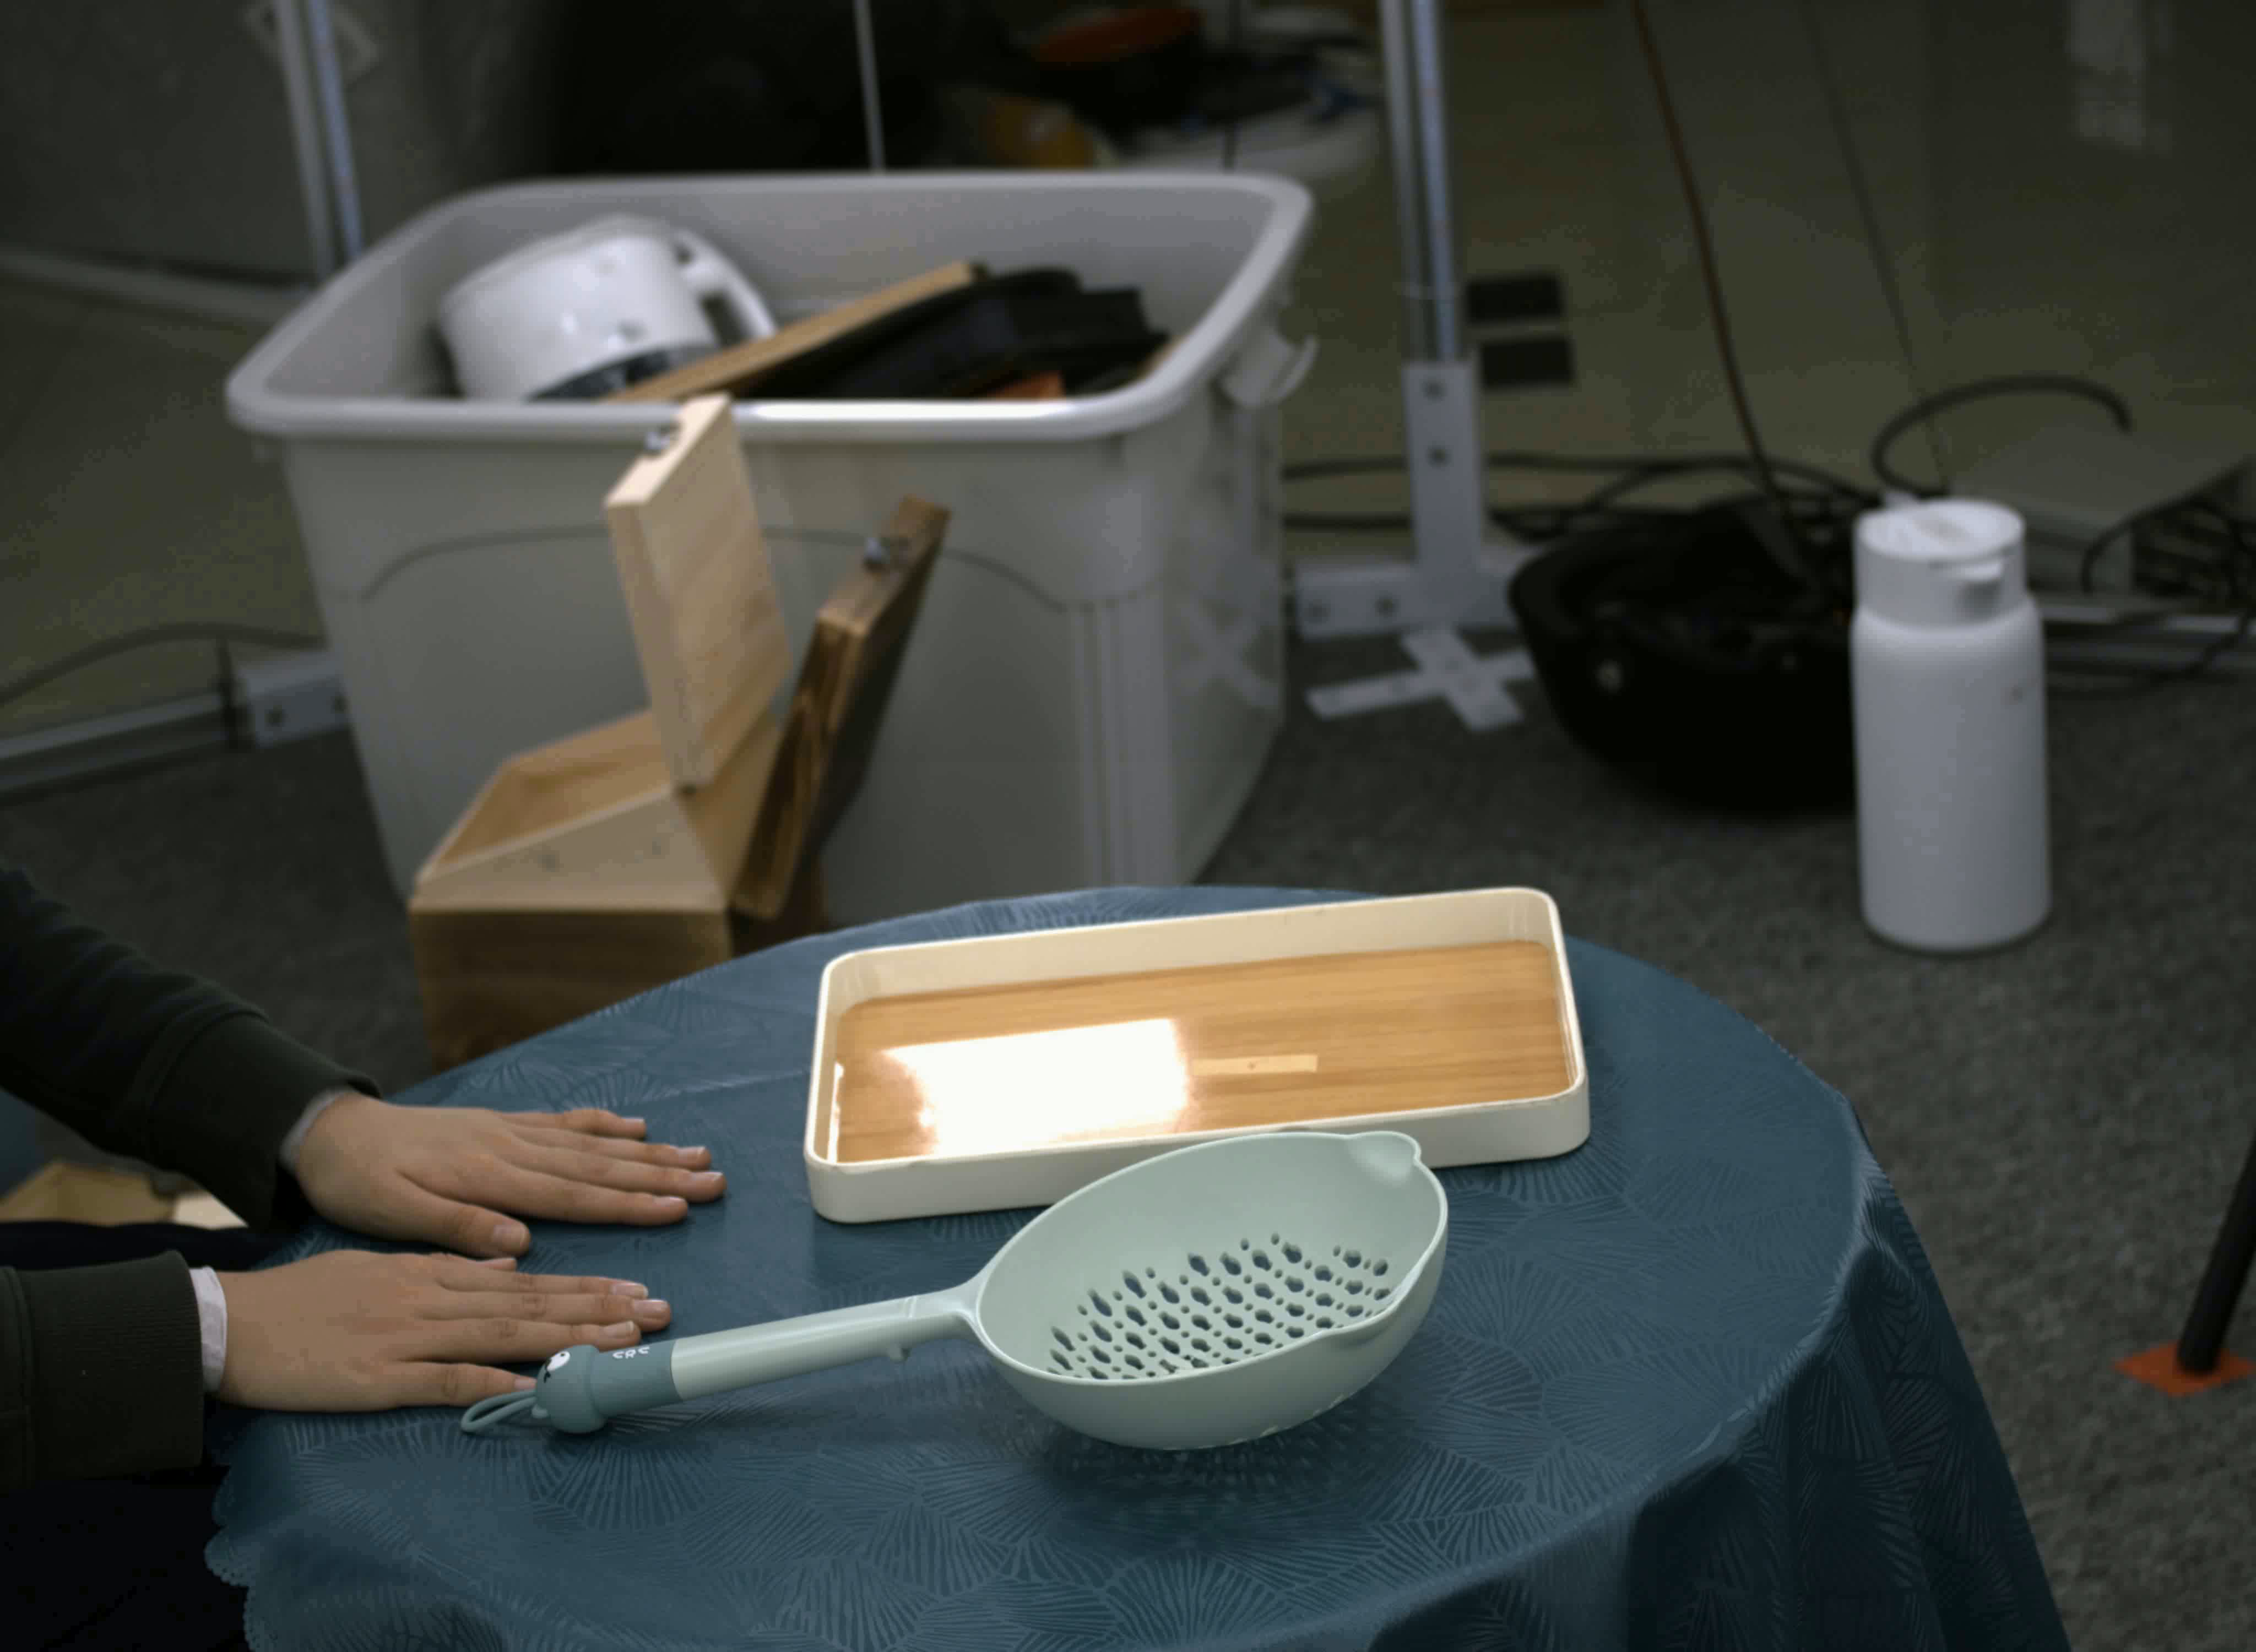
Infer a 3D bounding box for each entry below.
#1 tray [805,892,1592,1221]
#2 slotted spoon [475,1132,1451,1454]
[{"bbox_3d":[0.027,0.089,2.223,0.300,0.028,0.189,-5,25,2],"label":"tray"},{"bbox_3d":[-0.062,0.178,2.007,0.358,0.076,0.167,-3,25,8],"label":"slotted spoon"}]
